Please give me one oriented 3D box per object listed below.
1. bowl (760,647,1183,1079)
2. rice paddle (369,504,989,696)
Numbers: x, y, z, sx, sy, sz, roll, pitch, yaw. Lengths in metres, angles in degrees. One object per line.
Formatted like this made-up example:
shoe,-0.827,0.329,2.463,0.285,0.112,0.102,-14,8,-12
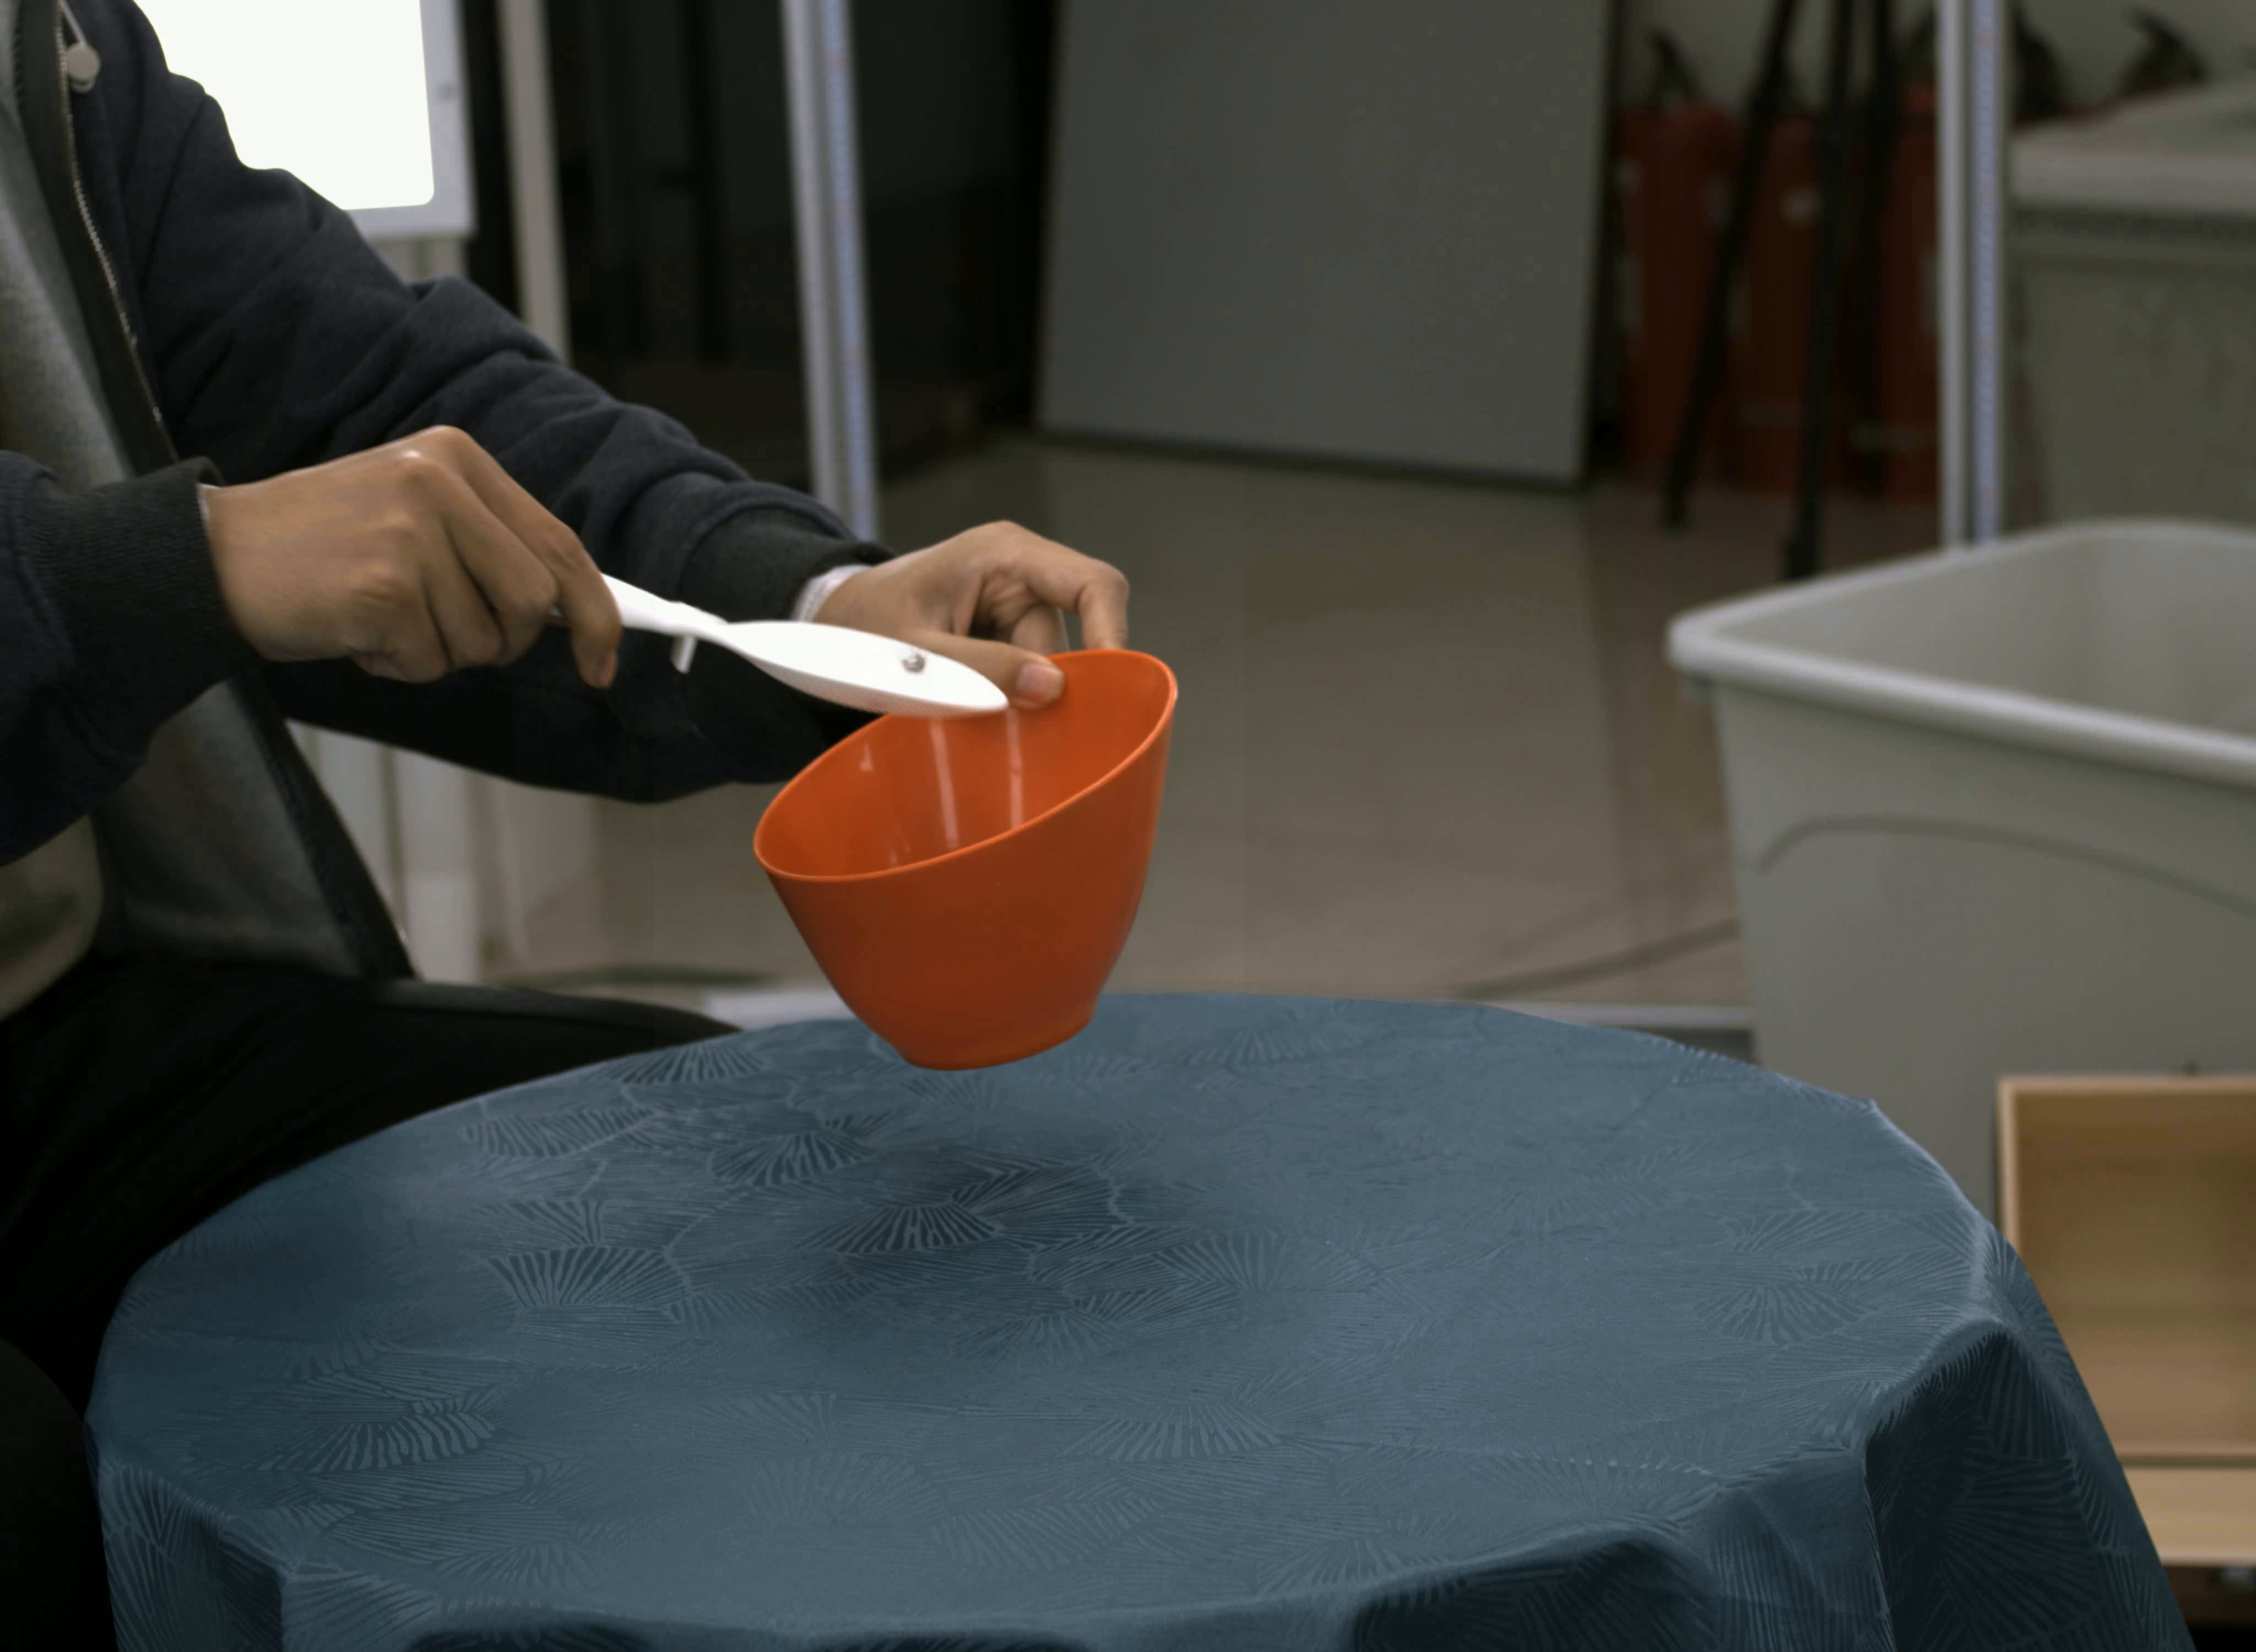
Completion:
bowl,-0.041,0.017,1.755,0.146,0.105,0.148,-13,18,3
rice paddle,-0.138,-0.069,1.713,0.201,0.030,0.069,10,16,-19
